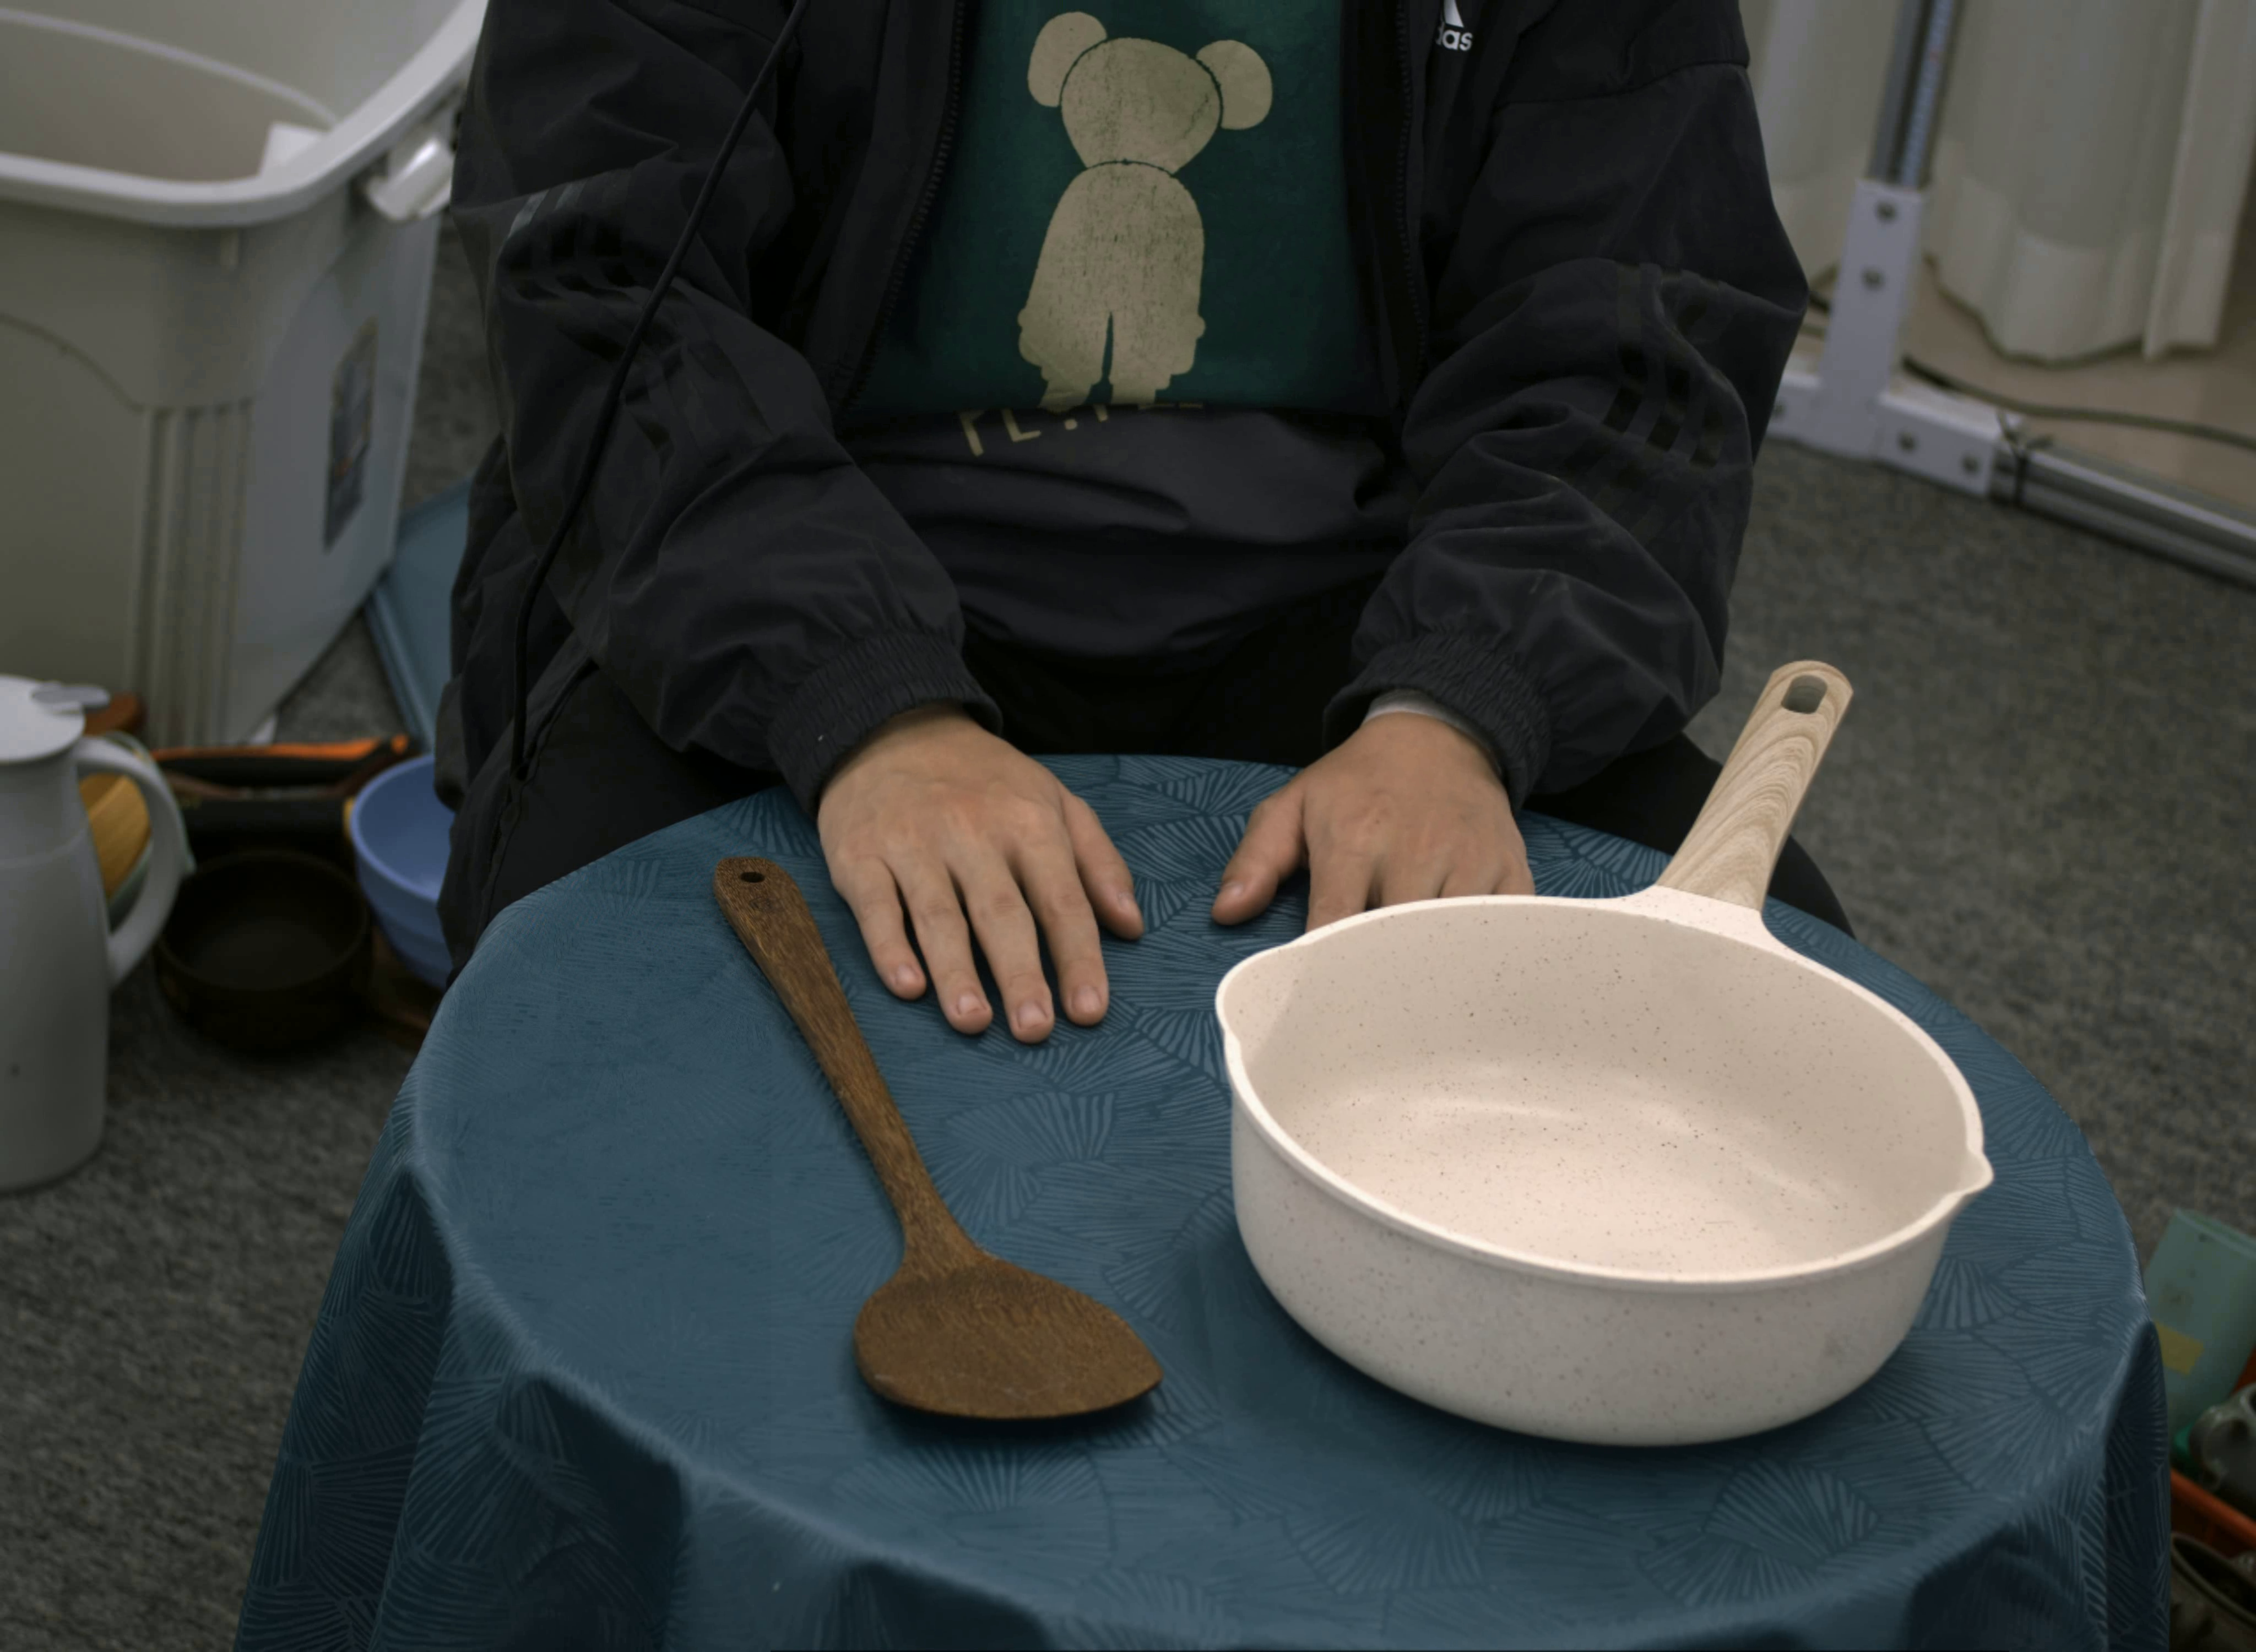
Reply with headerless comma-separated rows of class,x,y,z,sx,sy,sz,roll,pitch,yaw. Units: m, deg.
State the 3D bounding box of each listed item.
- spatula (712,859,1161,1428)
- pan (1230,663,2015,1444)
spatula,-0.086,0.099,1.818,0.095,0.016,0.389,-3,28,-18
pan,0.188,0.073,1.835,0.264,0.101,0.435,12,28,15
